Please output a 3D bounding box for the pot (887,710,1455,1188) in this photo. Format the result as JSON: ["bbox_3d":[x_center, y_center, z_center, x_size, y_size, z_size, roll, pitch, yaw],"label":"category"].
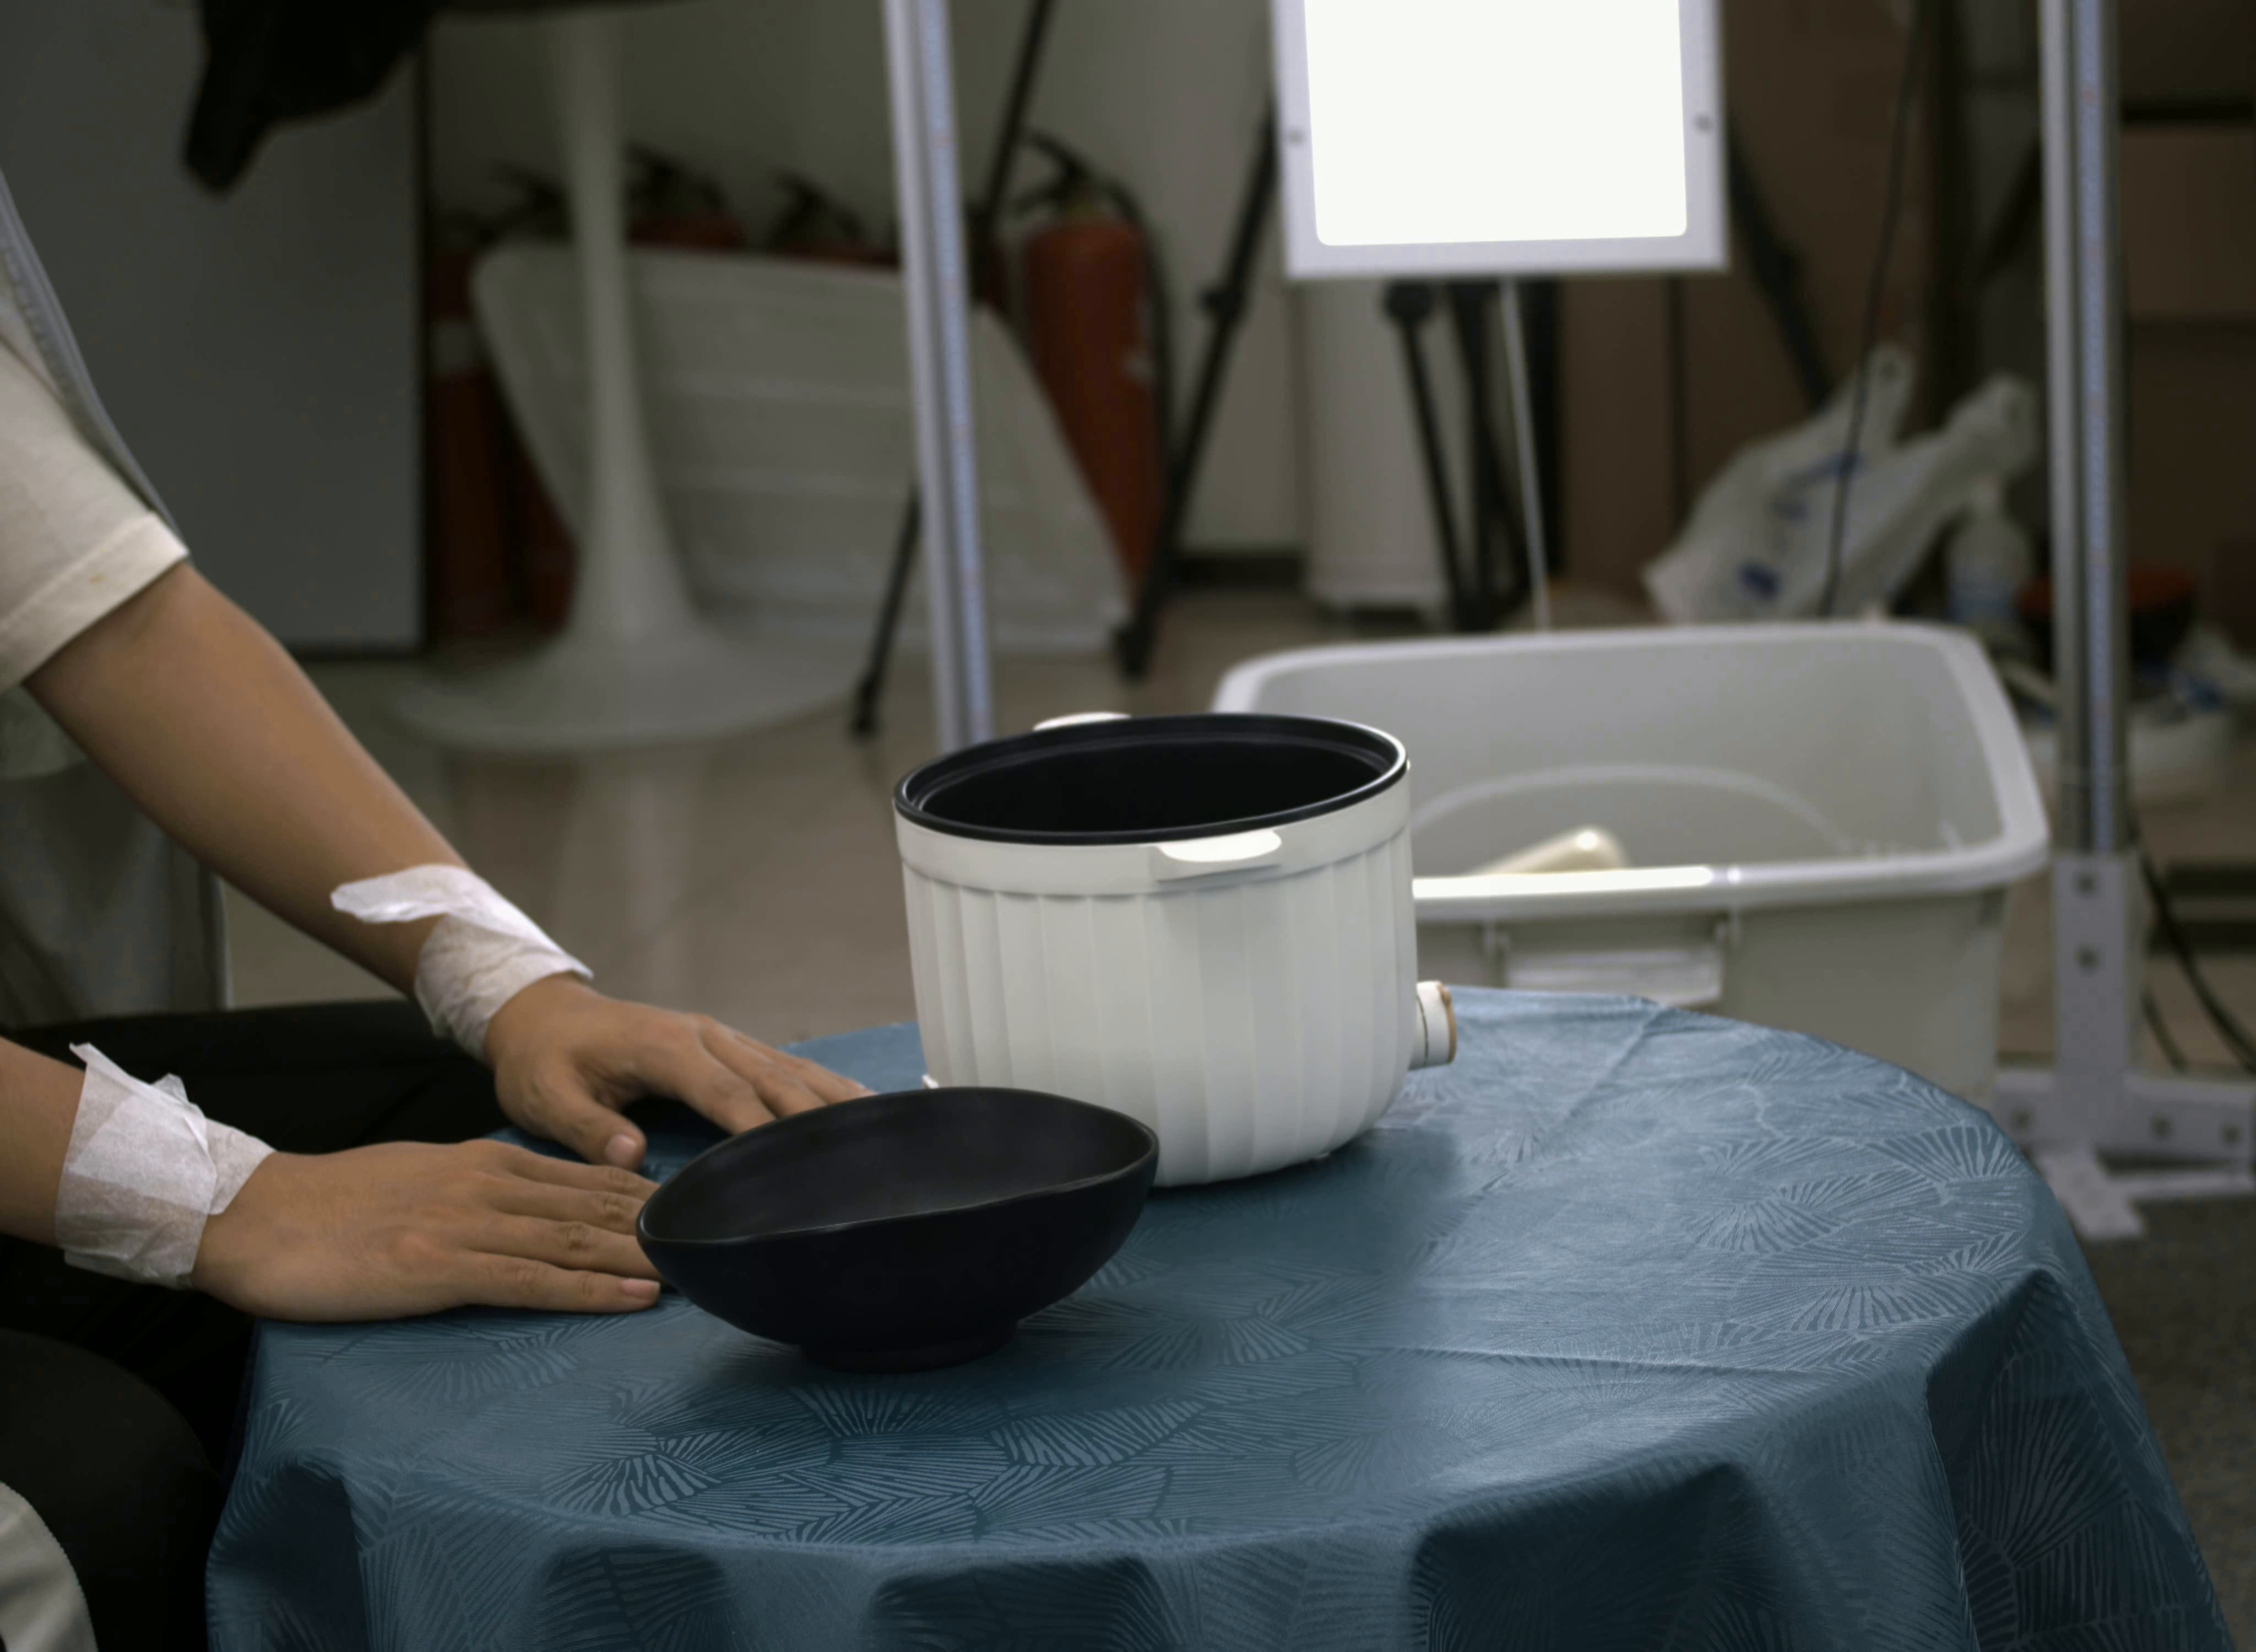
[{"bbox_3d":[0.017,0.044,1.938,0.188,0.143,0.242,-11,15,-11],"label":"pot"}]

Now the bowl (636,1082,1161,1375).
[{"bbox_3d":[-0.070,0.134,1.756,0.168,0.067,0.138,-9,13,-11],"label":"bowl"}]
